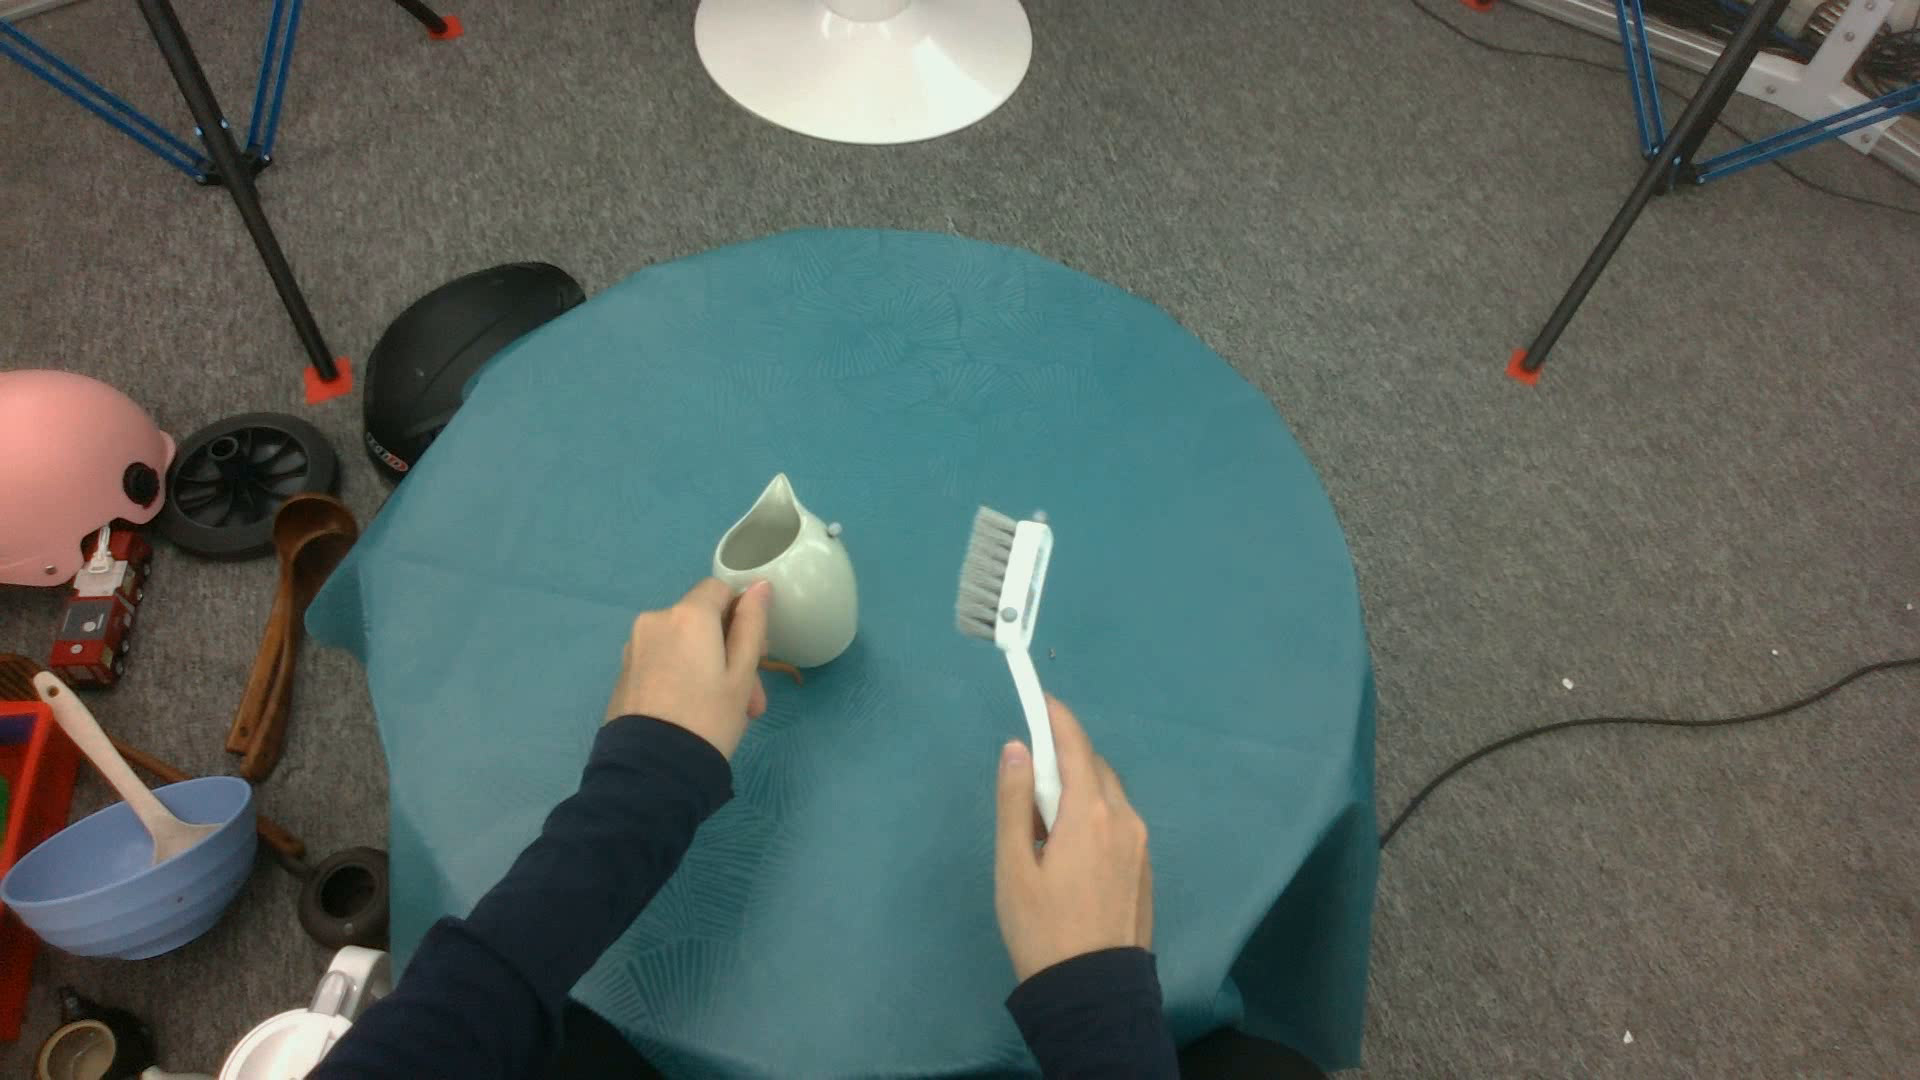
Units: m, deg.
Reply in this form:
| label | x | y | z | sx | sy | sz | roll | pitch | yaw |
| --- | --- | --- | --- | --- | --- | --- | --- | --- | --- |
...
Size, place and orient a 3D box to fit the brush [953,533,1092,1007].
| label | x | y | z | sx | sy | sz | roll | pitch | yaw |
| --- | --- | --- | --- | --- | --- | --- | --- | --- | --- |
| brush | 0.029 | 0.114 | 0.708 | 0.050 | 0.034 | 0.244 | -9 | 74 | 8 |

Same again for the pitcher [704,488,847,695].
| label | x | y | z | sx | sy | sz | roll | pitch | yaw |
| --- | --- | --- | --- | --- | --- | --- | --- | --- | --- |
| pitcher | -0.106 | 0.039 | 0.789 | 0.075 | 0.087 | 0.120 | -10 | 35 | 24 |
